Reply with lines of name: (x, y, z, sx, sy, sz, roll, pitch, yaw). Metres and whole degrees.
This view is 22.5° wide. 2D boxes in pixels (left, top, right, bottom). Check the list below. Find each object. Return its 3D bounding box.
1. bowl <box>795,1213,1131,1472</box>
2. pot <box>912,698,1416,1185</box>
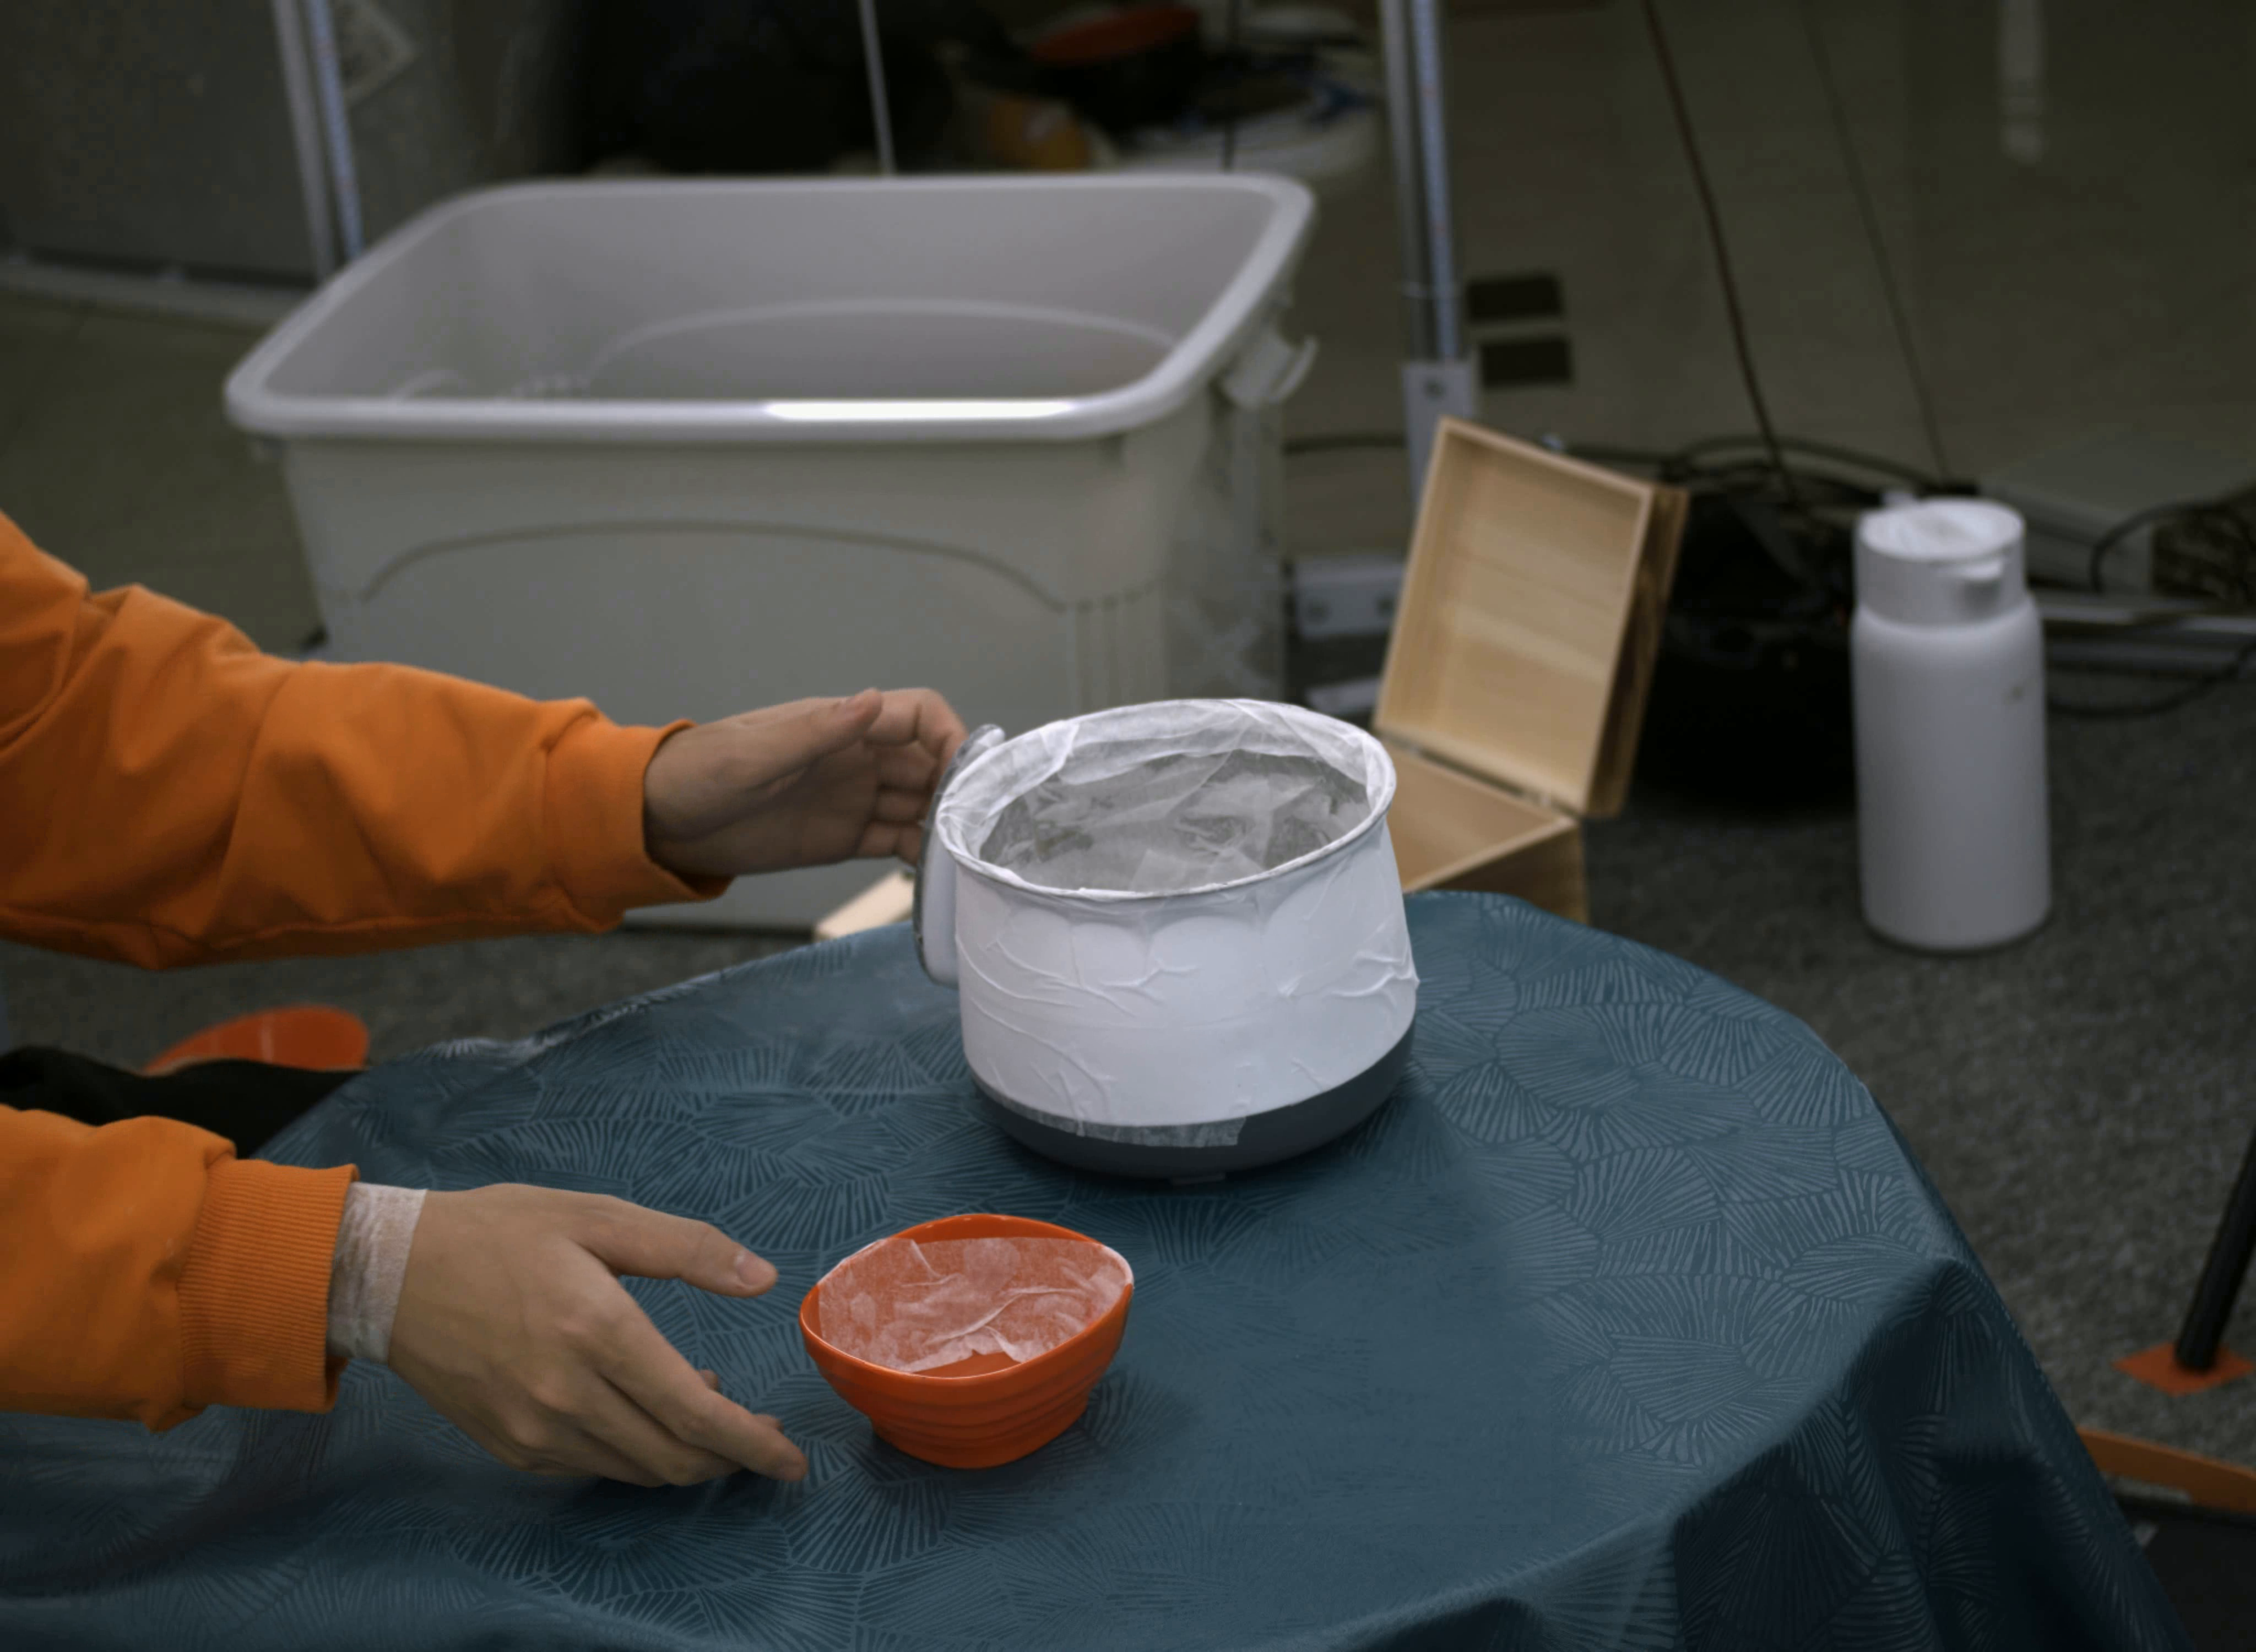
bowl: (-0.056, 0.186, 1.999, 0.119, 0.052, 0.117, -5, 26, 3)
pot: (0.001, 0.039, 2.196, 0.232, 0.139, 0.177, 18, 34, 41)
